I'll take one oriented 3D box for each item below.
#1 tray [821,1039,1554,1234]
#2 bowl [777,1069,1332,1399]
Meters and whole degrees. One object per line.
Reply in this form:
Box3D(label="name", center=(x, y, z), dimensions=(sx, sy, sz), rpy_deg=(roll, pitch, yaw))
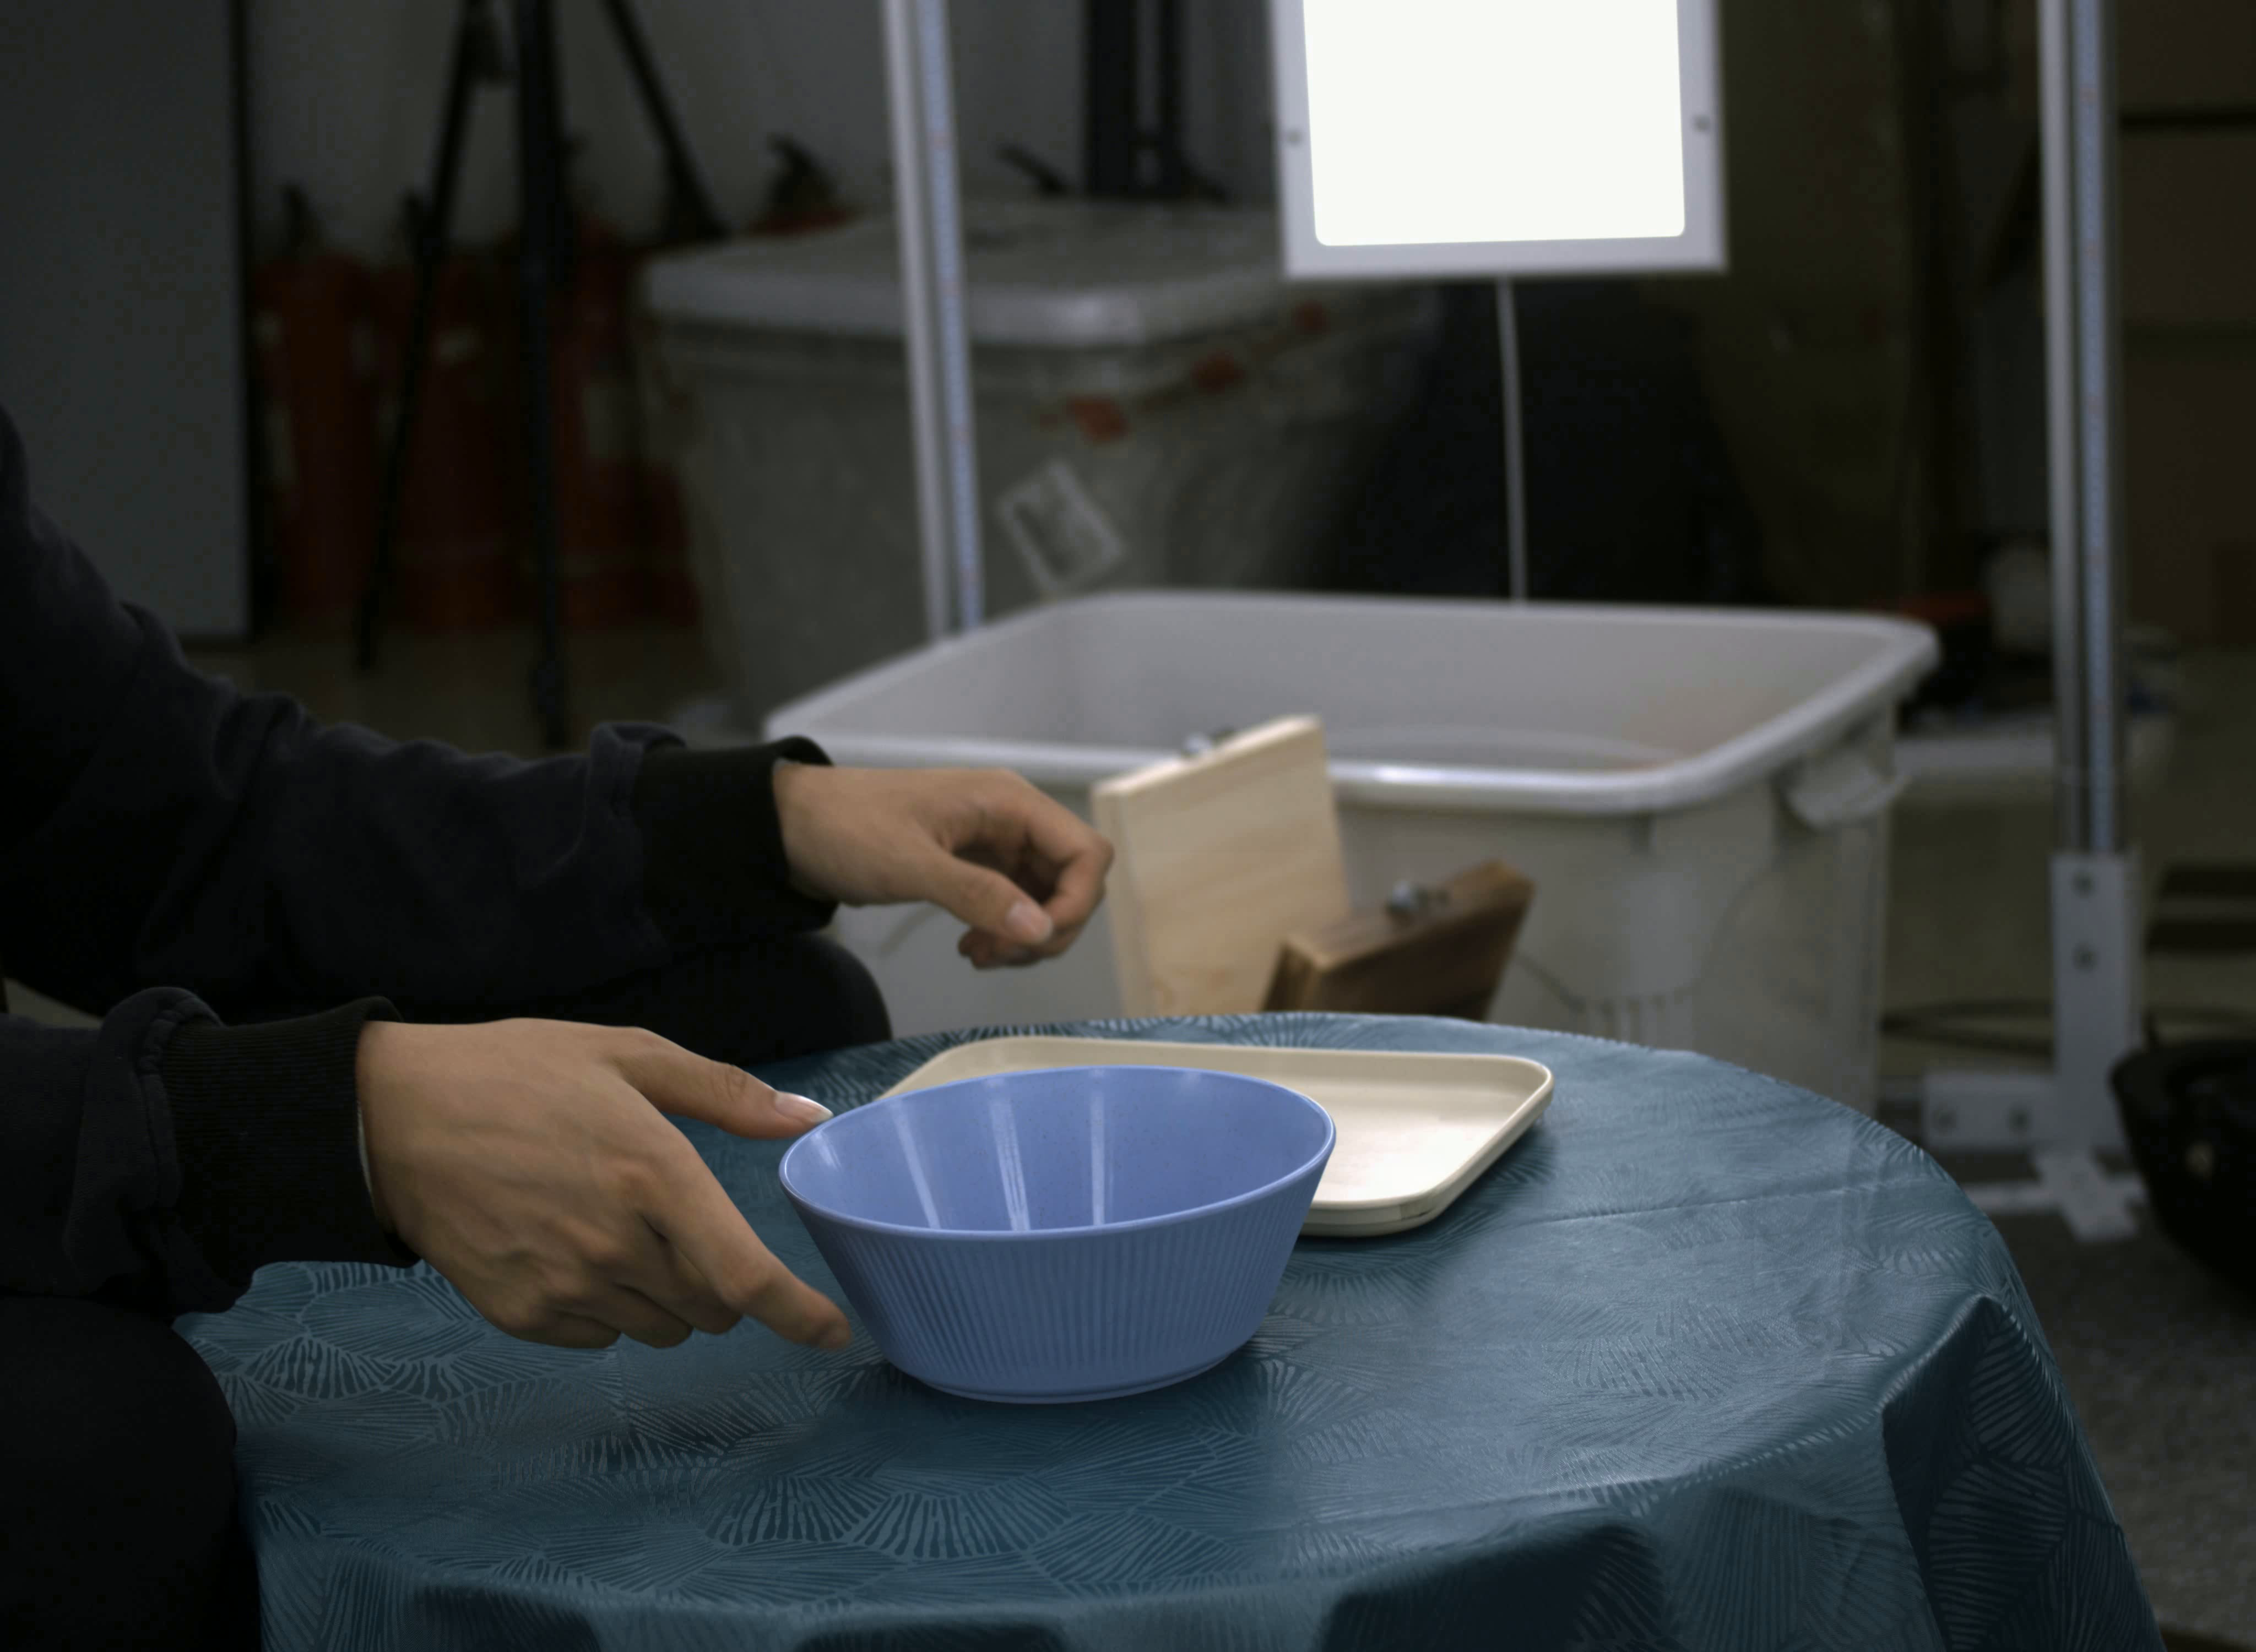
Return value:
Box3D(label="tray", center=(0.019, 0.109, 1.927), dimensions=(0.243, 0.017, 0.168), rpy_deg=(1, 15, 24))
Box3D(label="bowl", center=(-0.021, 0.131, 1.738), dimensions=(0.175, 0.070, 0.176), rpy_deg=(-4, 14, 0))
